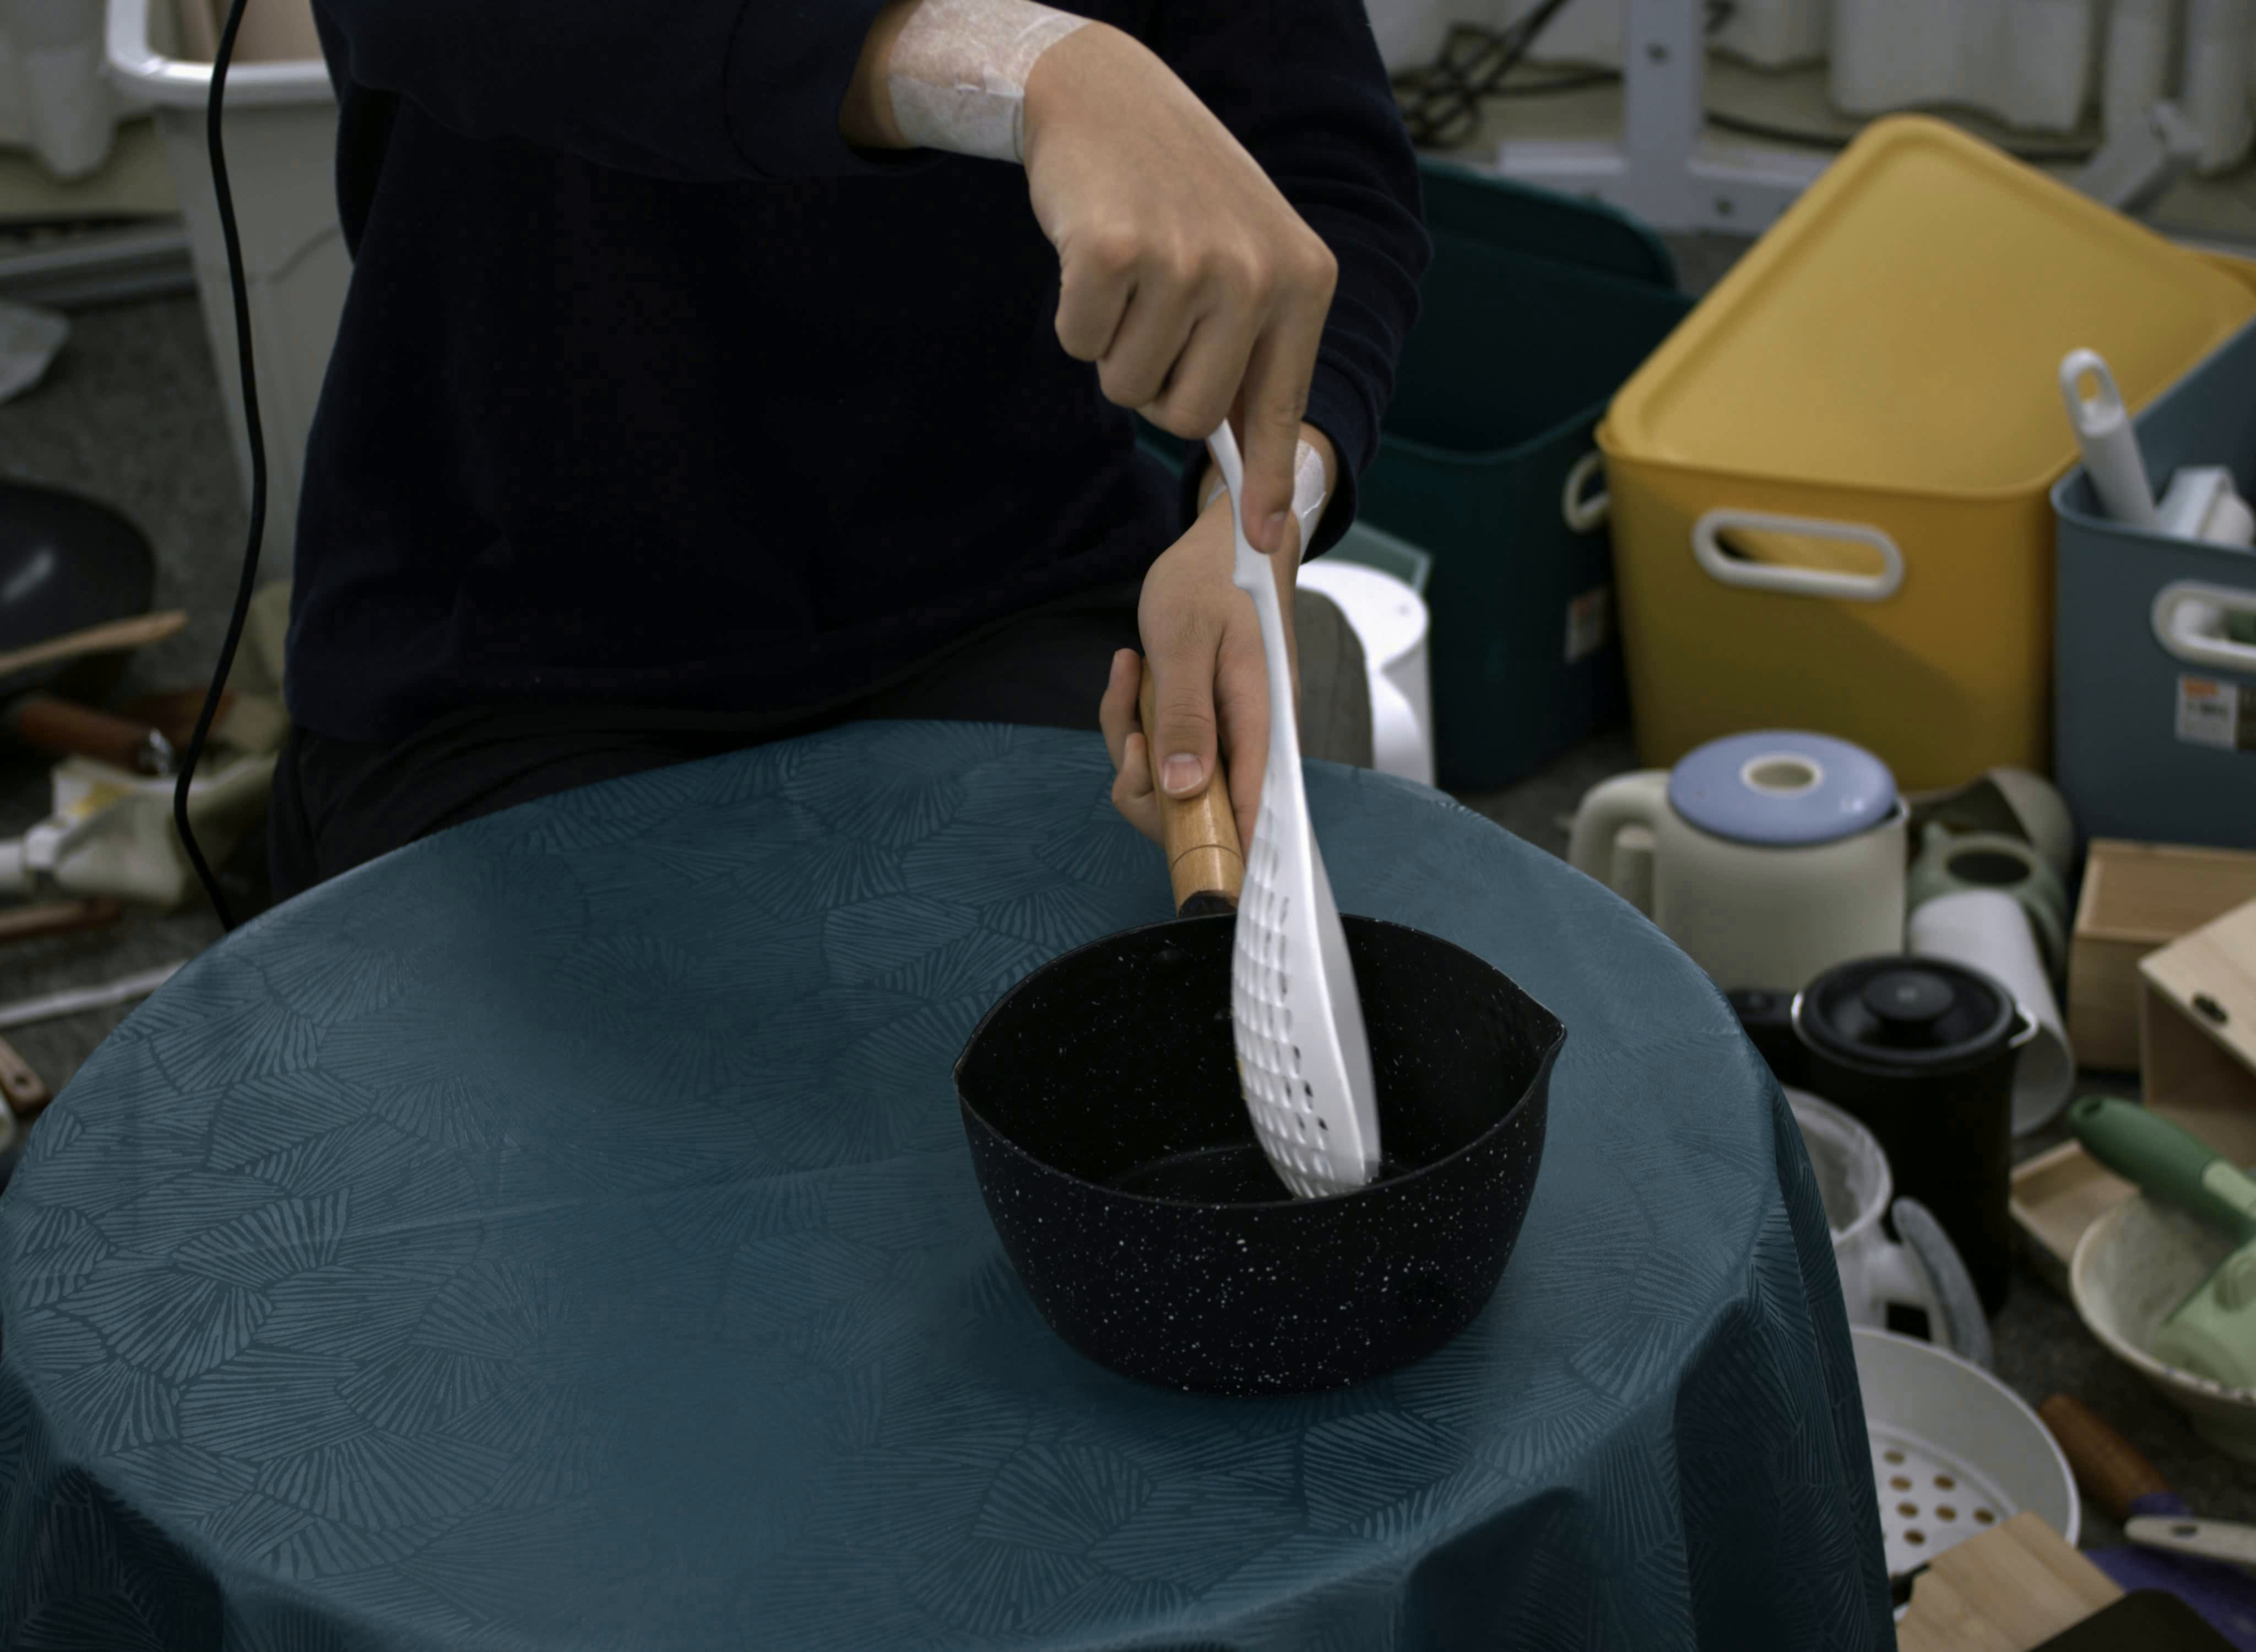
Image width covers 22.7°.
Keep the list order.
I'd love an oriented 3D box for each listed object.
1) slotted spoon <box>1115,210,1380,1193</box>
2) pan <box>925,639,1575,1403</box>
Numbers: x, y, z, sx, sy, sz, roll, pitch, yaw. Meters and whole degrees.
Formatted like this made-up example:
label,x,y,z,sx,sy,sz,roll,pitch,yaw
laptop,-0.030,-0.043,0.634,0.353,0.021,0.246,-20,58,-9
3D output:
label,x,y,z,sx,sy,sz,roll,pitch,yaw
slotted spoon,0.040,-0.027,1.757,0.050,0.345,0.138,-6,19,3
pan,0.032,0.061,1.861,0.207,0.107,0.347,-7,29,-5
